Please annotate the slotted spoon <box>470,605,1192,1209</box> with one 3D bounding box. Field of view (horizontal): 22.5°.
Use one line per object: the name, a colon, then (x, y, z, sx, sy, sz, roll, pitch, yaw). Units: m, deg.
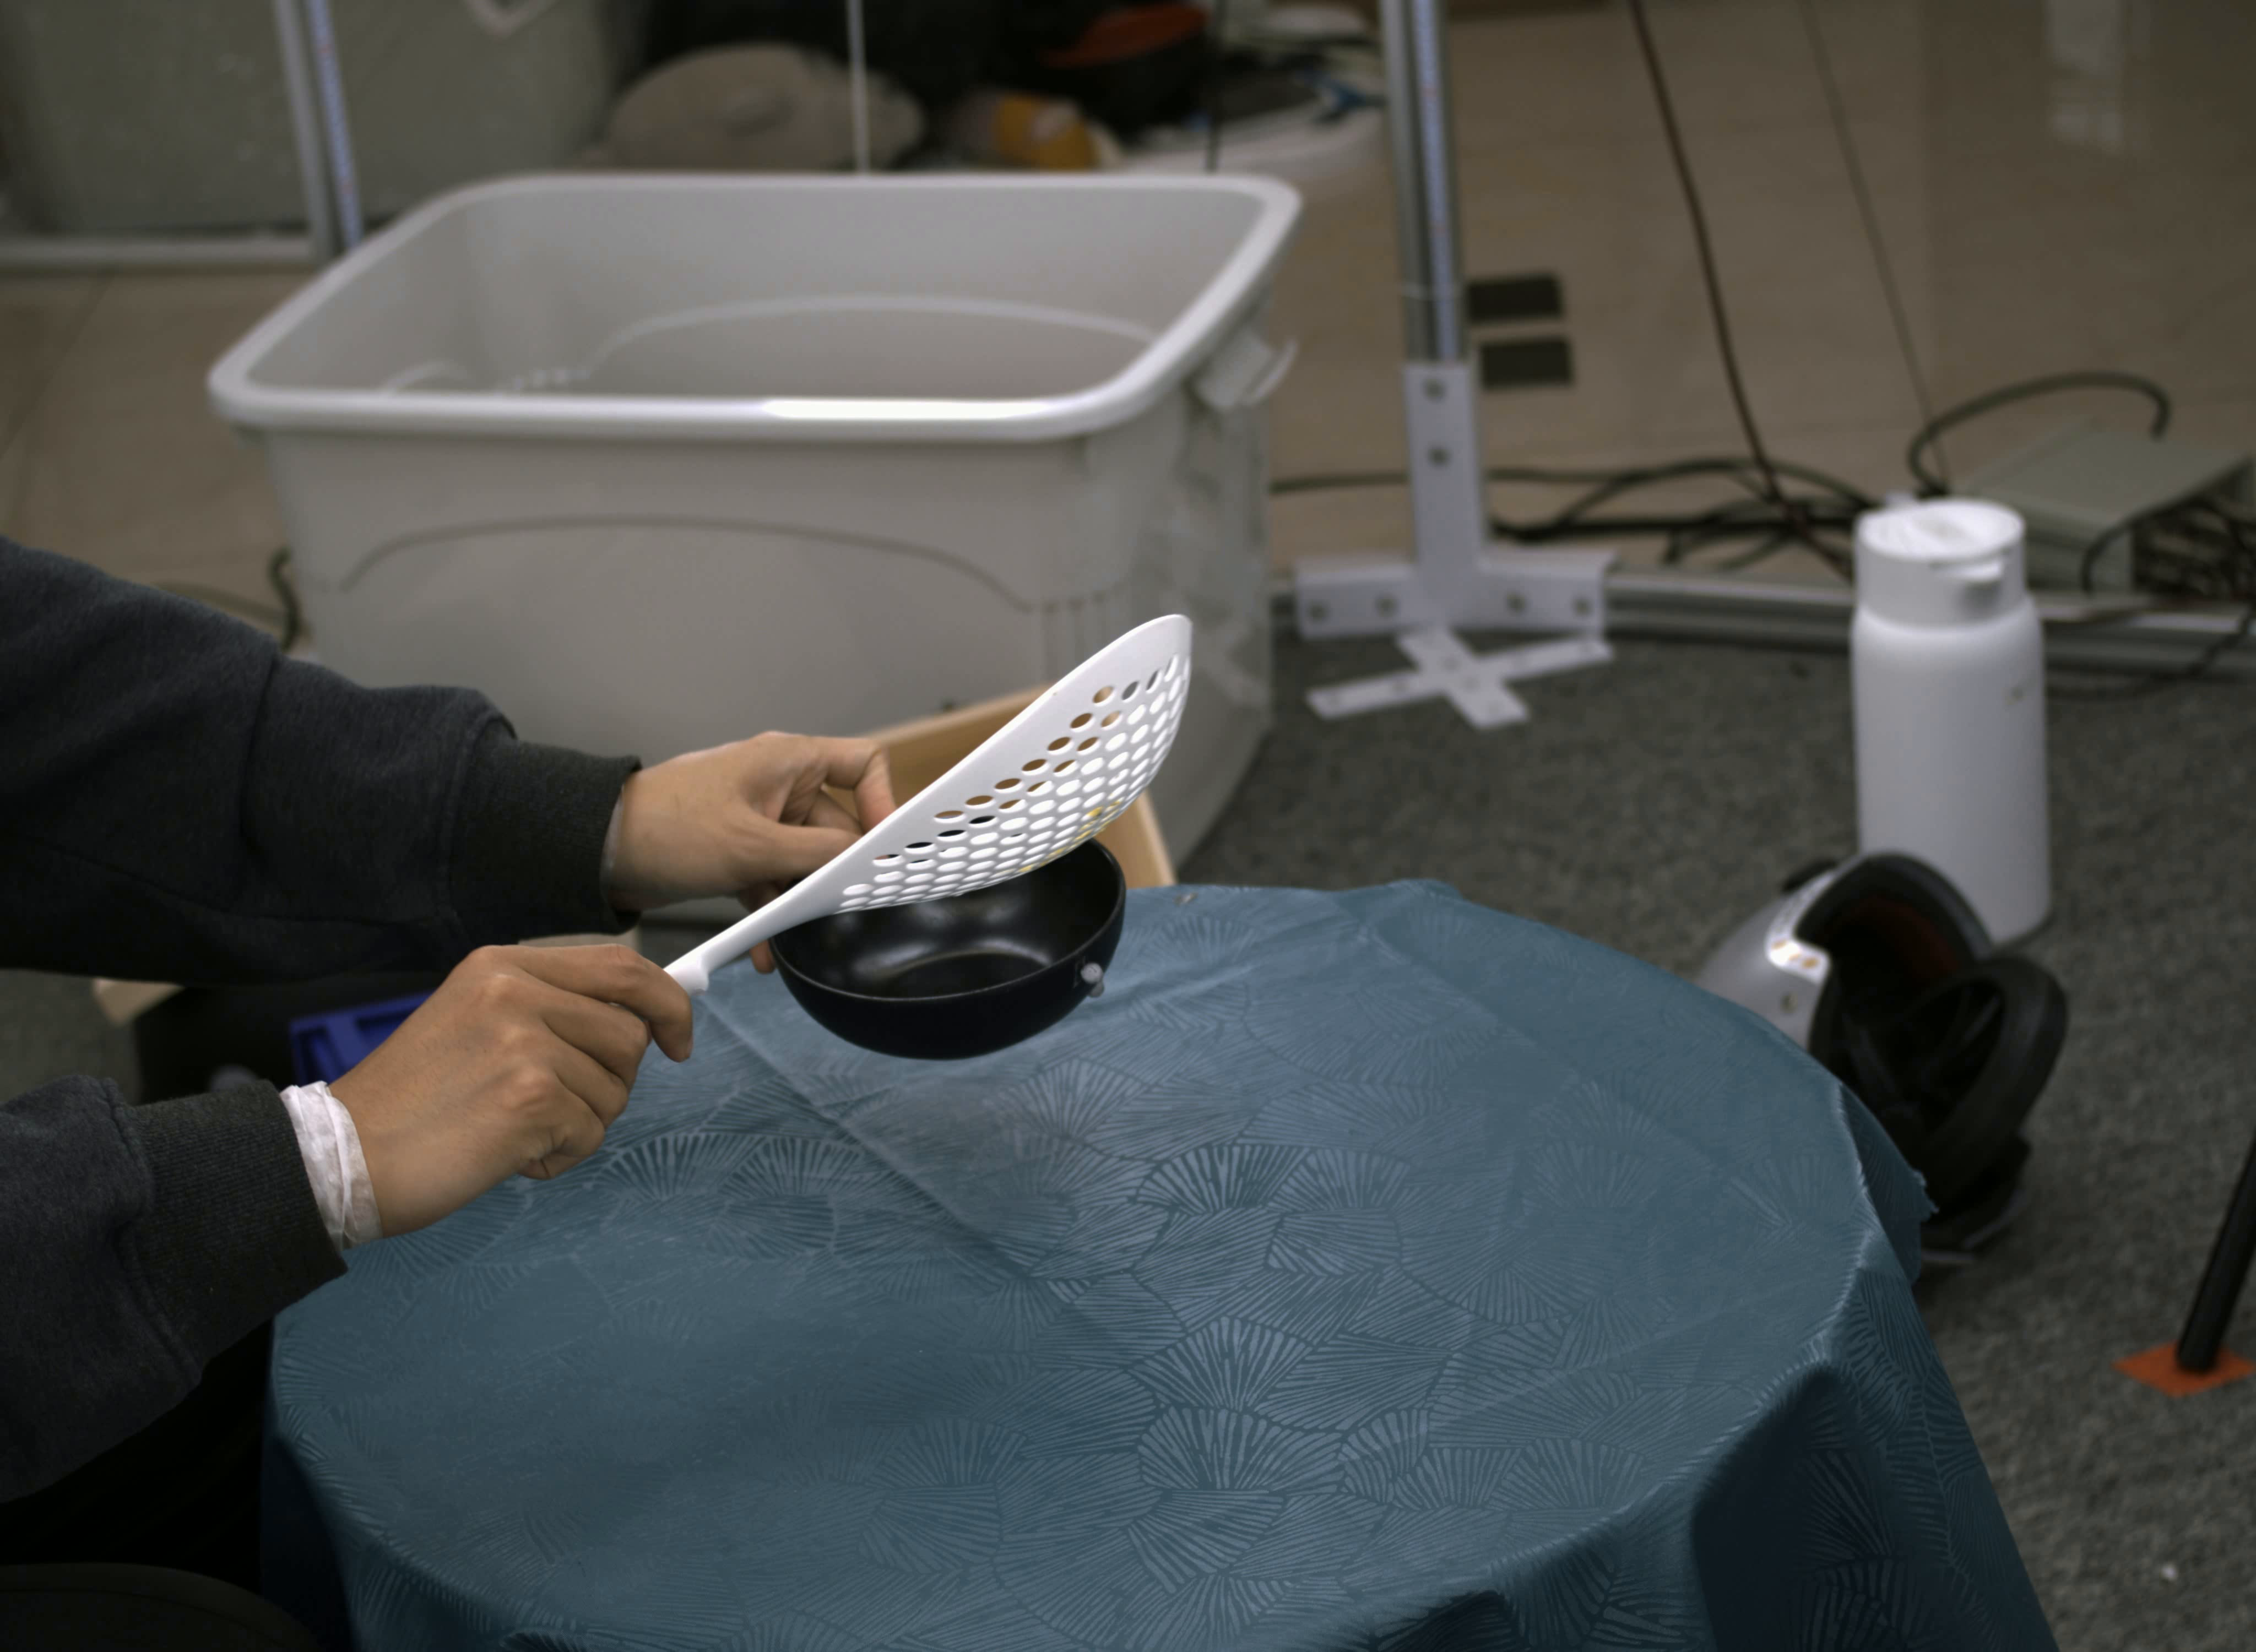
slotted spoon: (-0.102, 0.031, 1.967, 0.345, 0.050, 0.138, -31, -10, -28)
